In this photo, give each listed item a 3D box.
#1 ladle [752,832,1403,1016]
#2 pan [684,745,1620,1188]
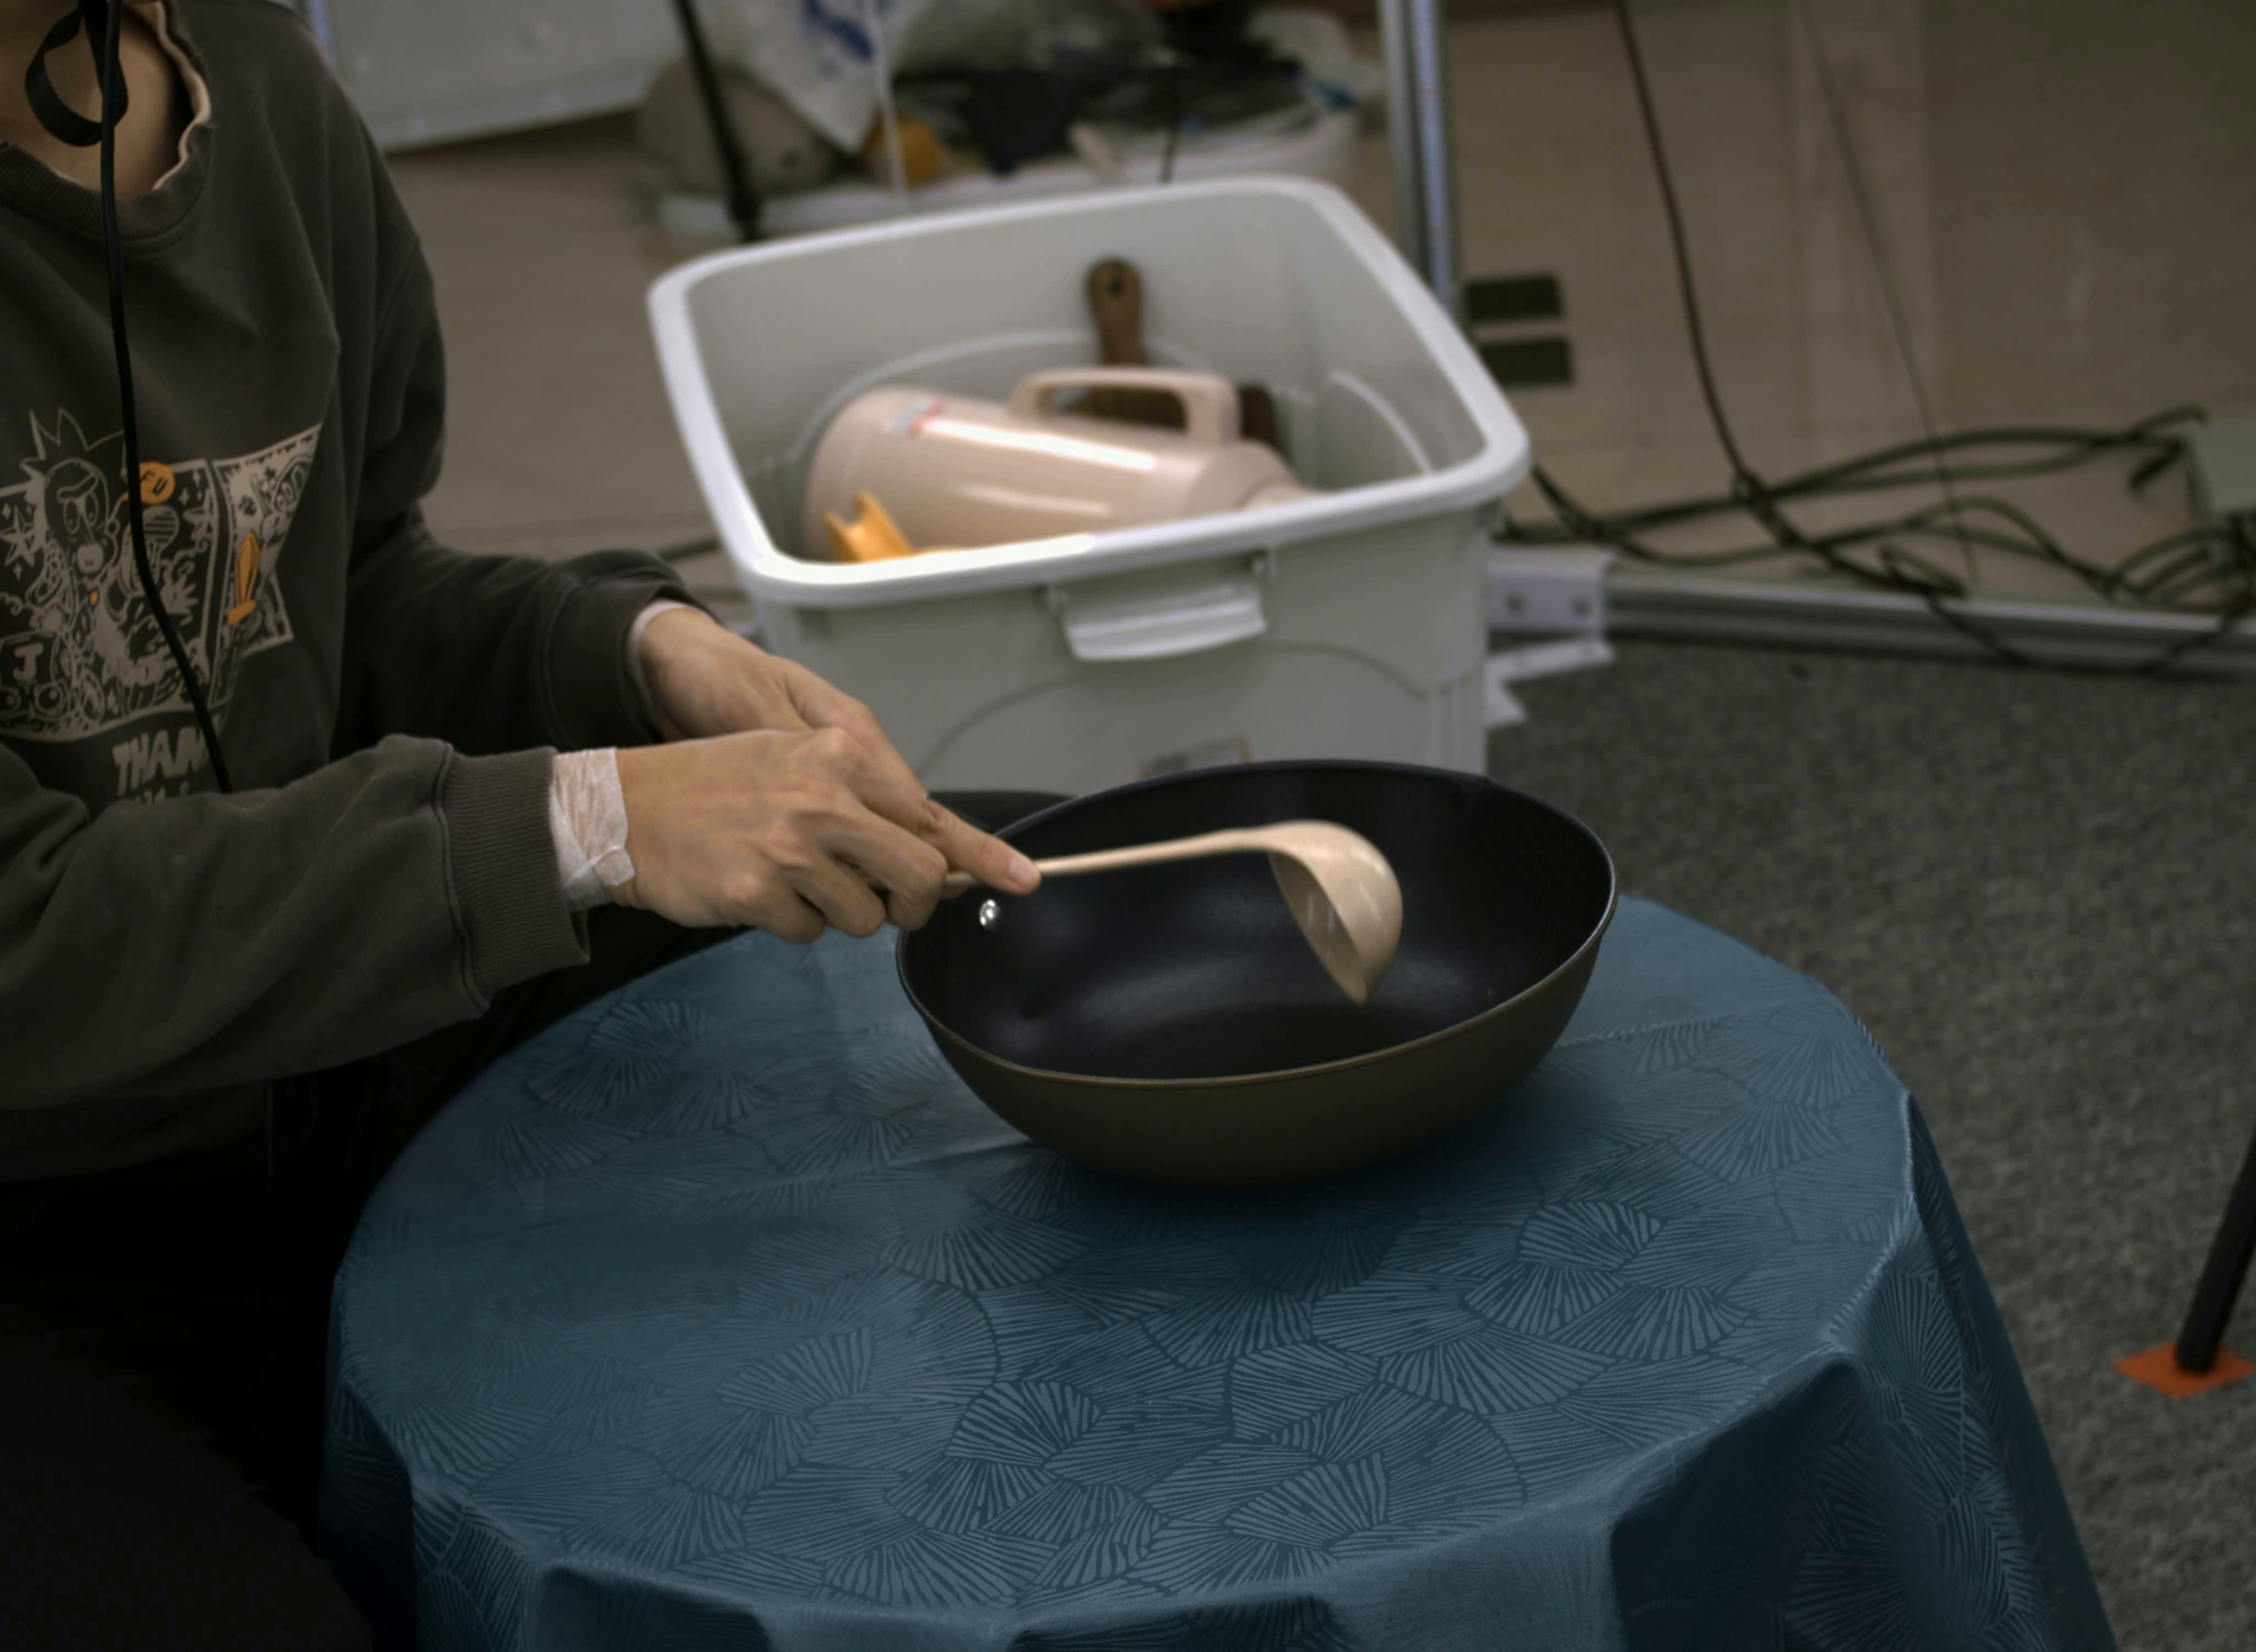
[{"bbox_3d":[-0.020,0.043,2.164,0.254,0.073,0.071,-3,17,-16],"label":"ladle"},{"bbox_3d":[-0.014,0.049,2.245,0.460,0.088,0.285,15,33,41],"label":"pan"}]
